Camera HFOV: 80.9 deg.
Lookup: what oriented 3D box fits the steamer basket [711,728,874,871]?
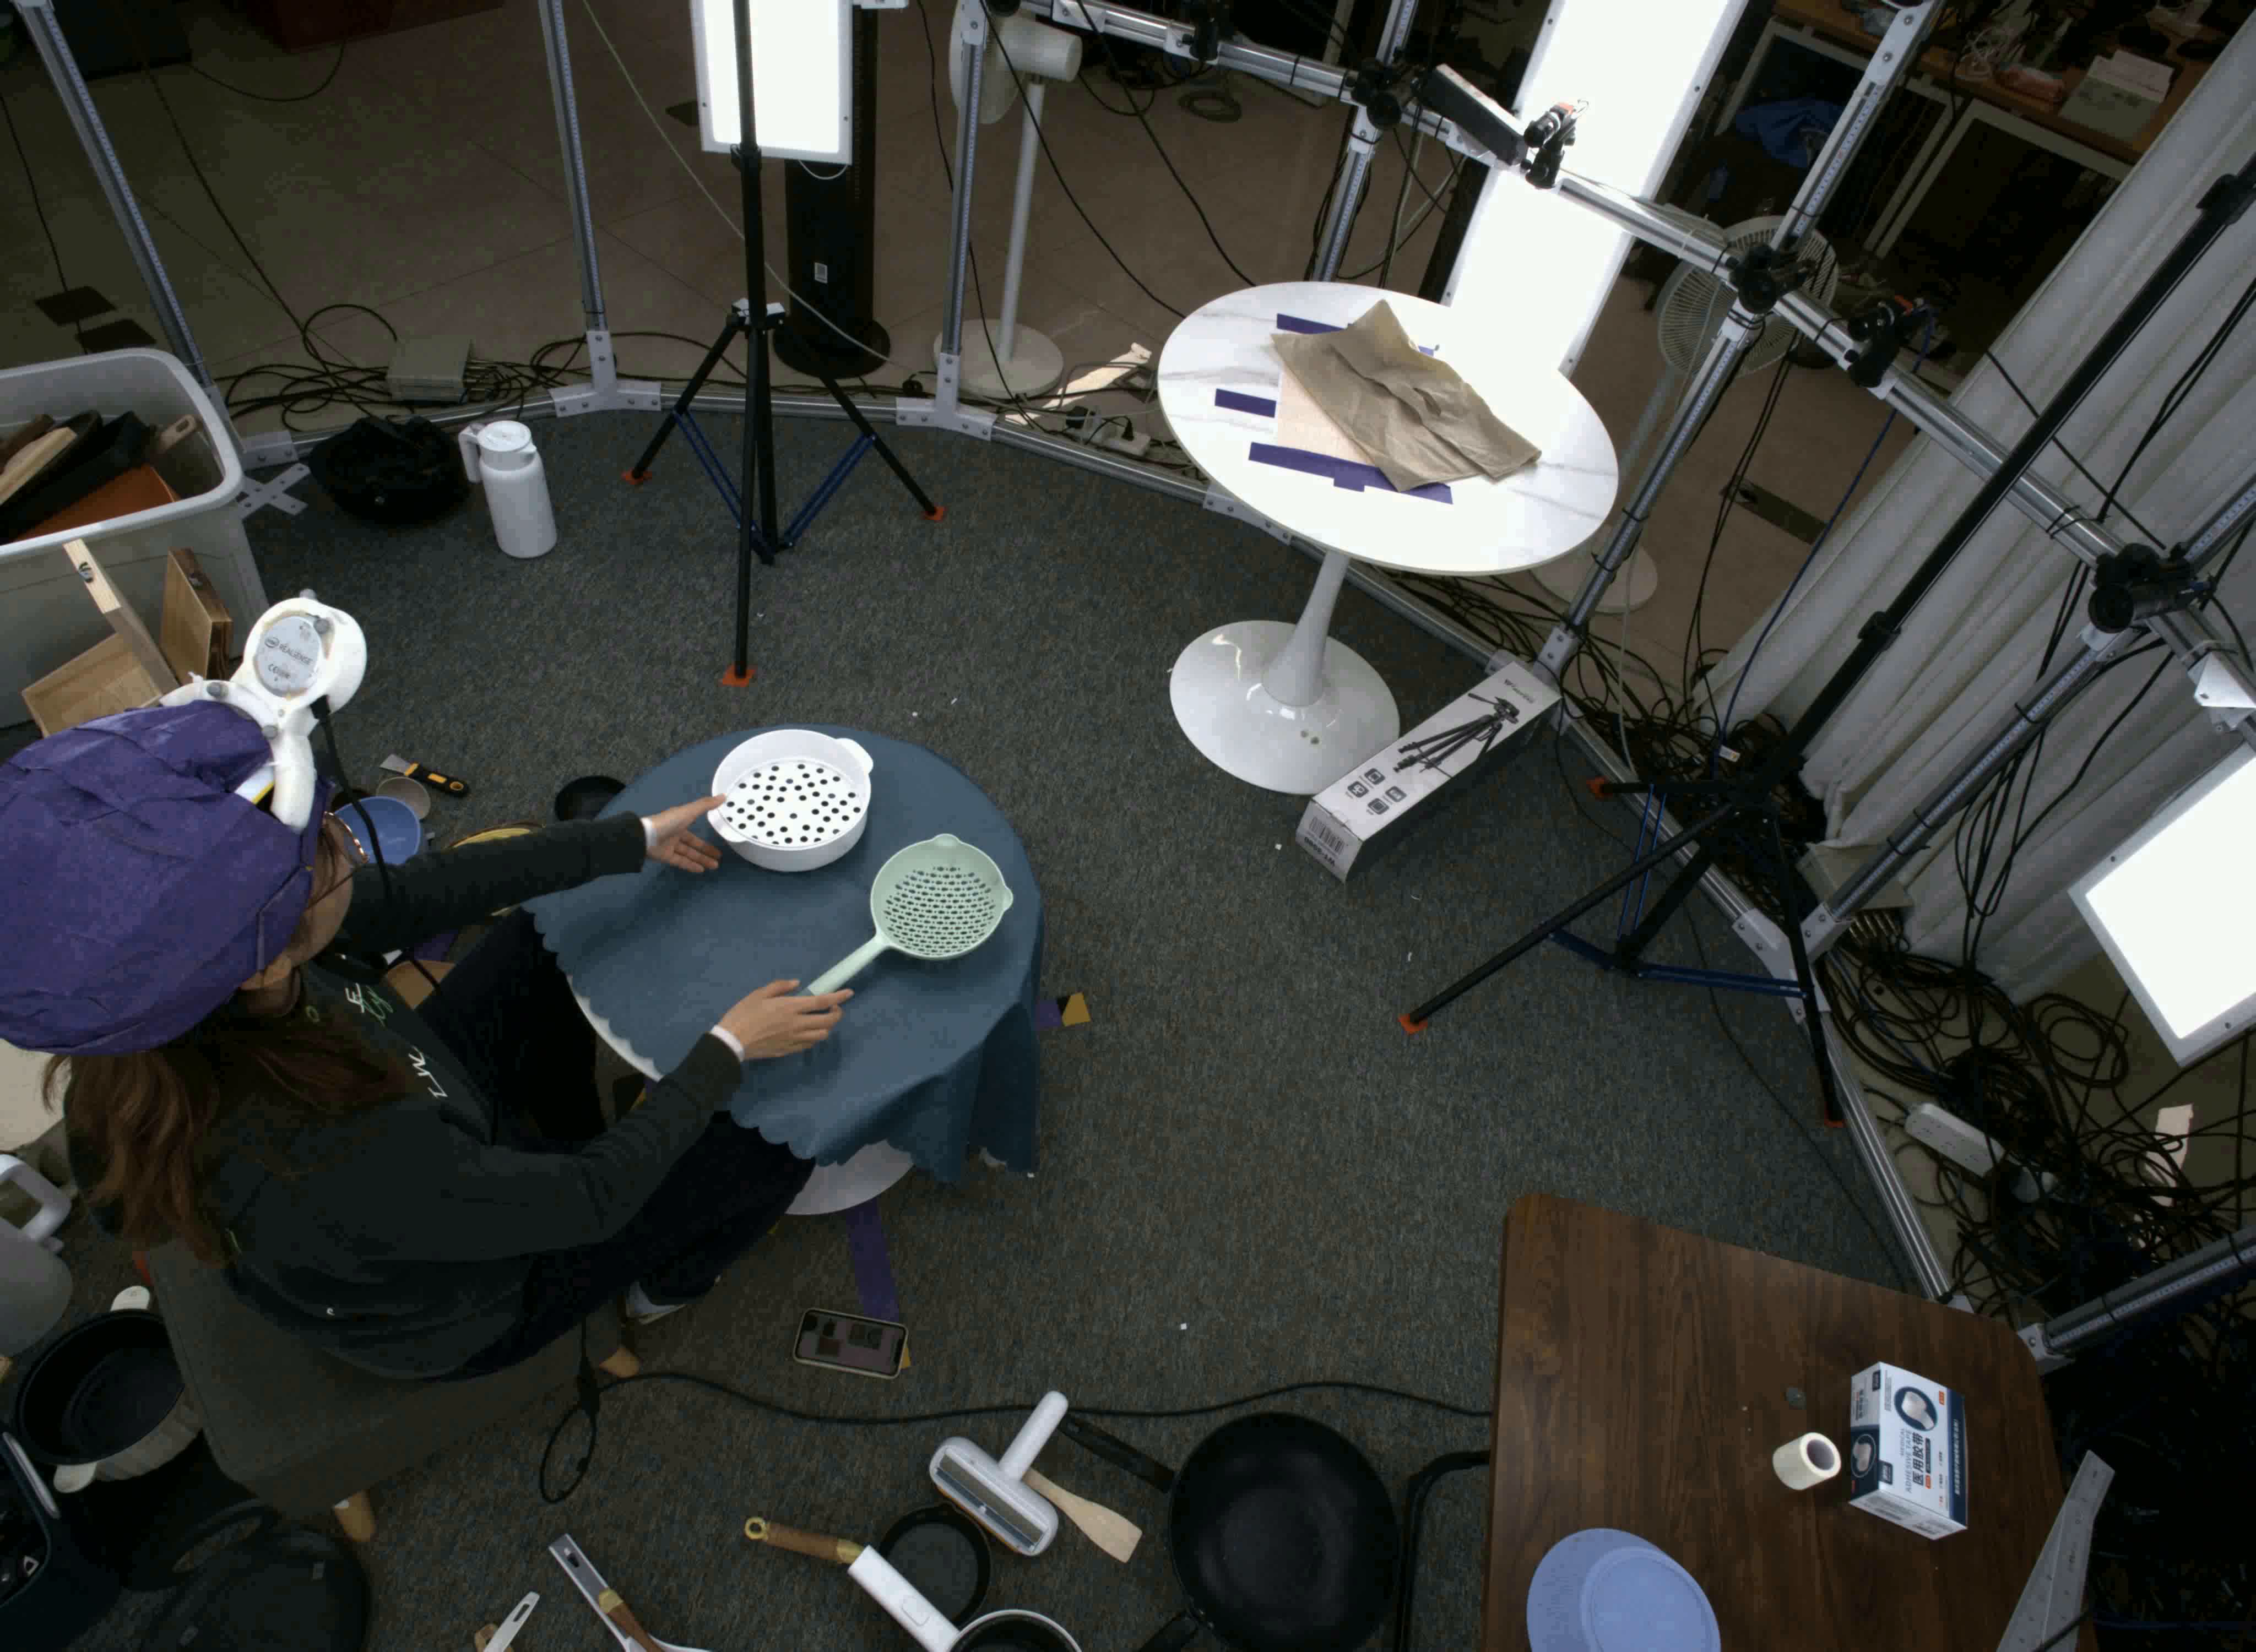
[{"bbox_3d":[-0.438,-0.034,1.710,0.197,0.071,0.231,42,56,19],"label":"steamer basket"}]

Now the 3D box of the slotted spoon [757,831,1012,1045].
[{"bbox_3d":[-0.309,0.147,1.608,0.360,0.077,0.165,-35,67,-32],"label":"slotted spoon"}]
